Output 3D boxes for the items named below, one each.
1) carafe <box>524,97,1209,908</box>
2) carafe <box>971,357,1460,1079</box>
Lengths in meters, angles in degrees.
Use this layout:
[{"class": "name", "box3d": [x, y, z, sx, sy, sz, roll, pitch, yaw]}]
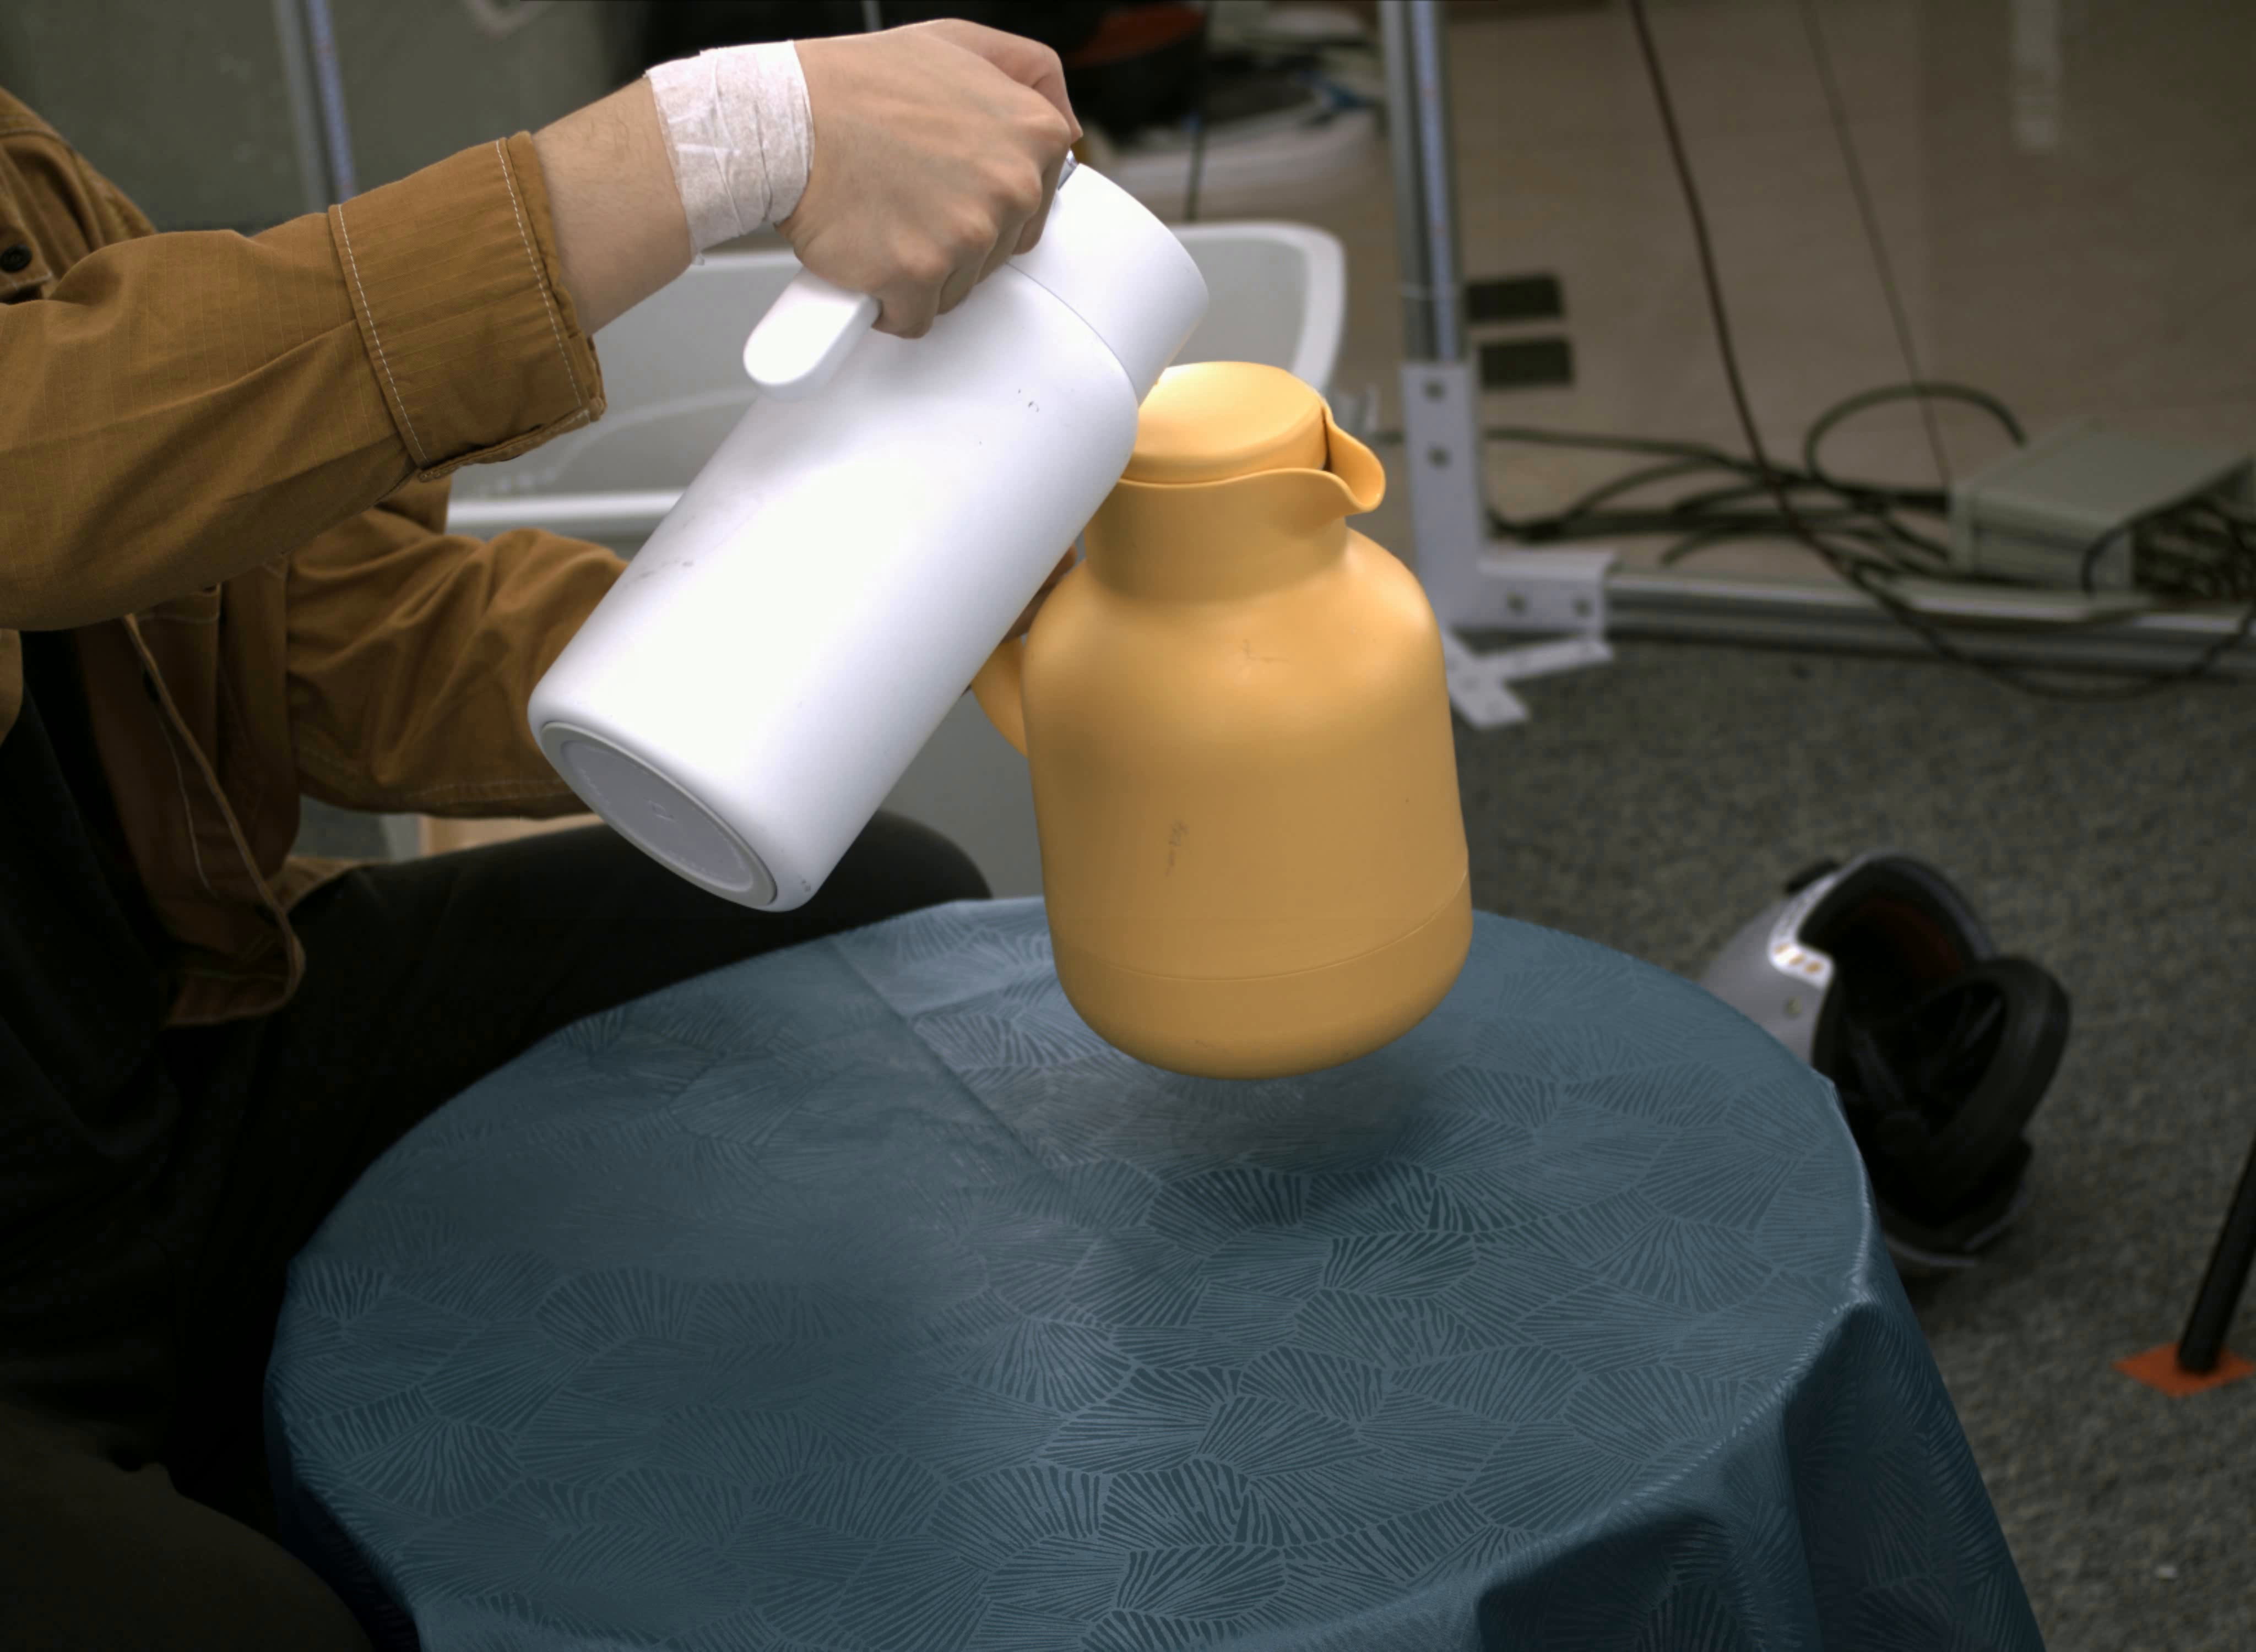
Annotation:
[{"class": "carafe", "box3d": [-0.089, -0.116, 1.924, 0.122, 0.175, 0.267, 29, 72, 30]}, {"class": "carafe", "box3d": [0.025, -0.050, 2.139, 0.201, 0.265, 0.162, 17, 35, 34]}]
